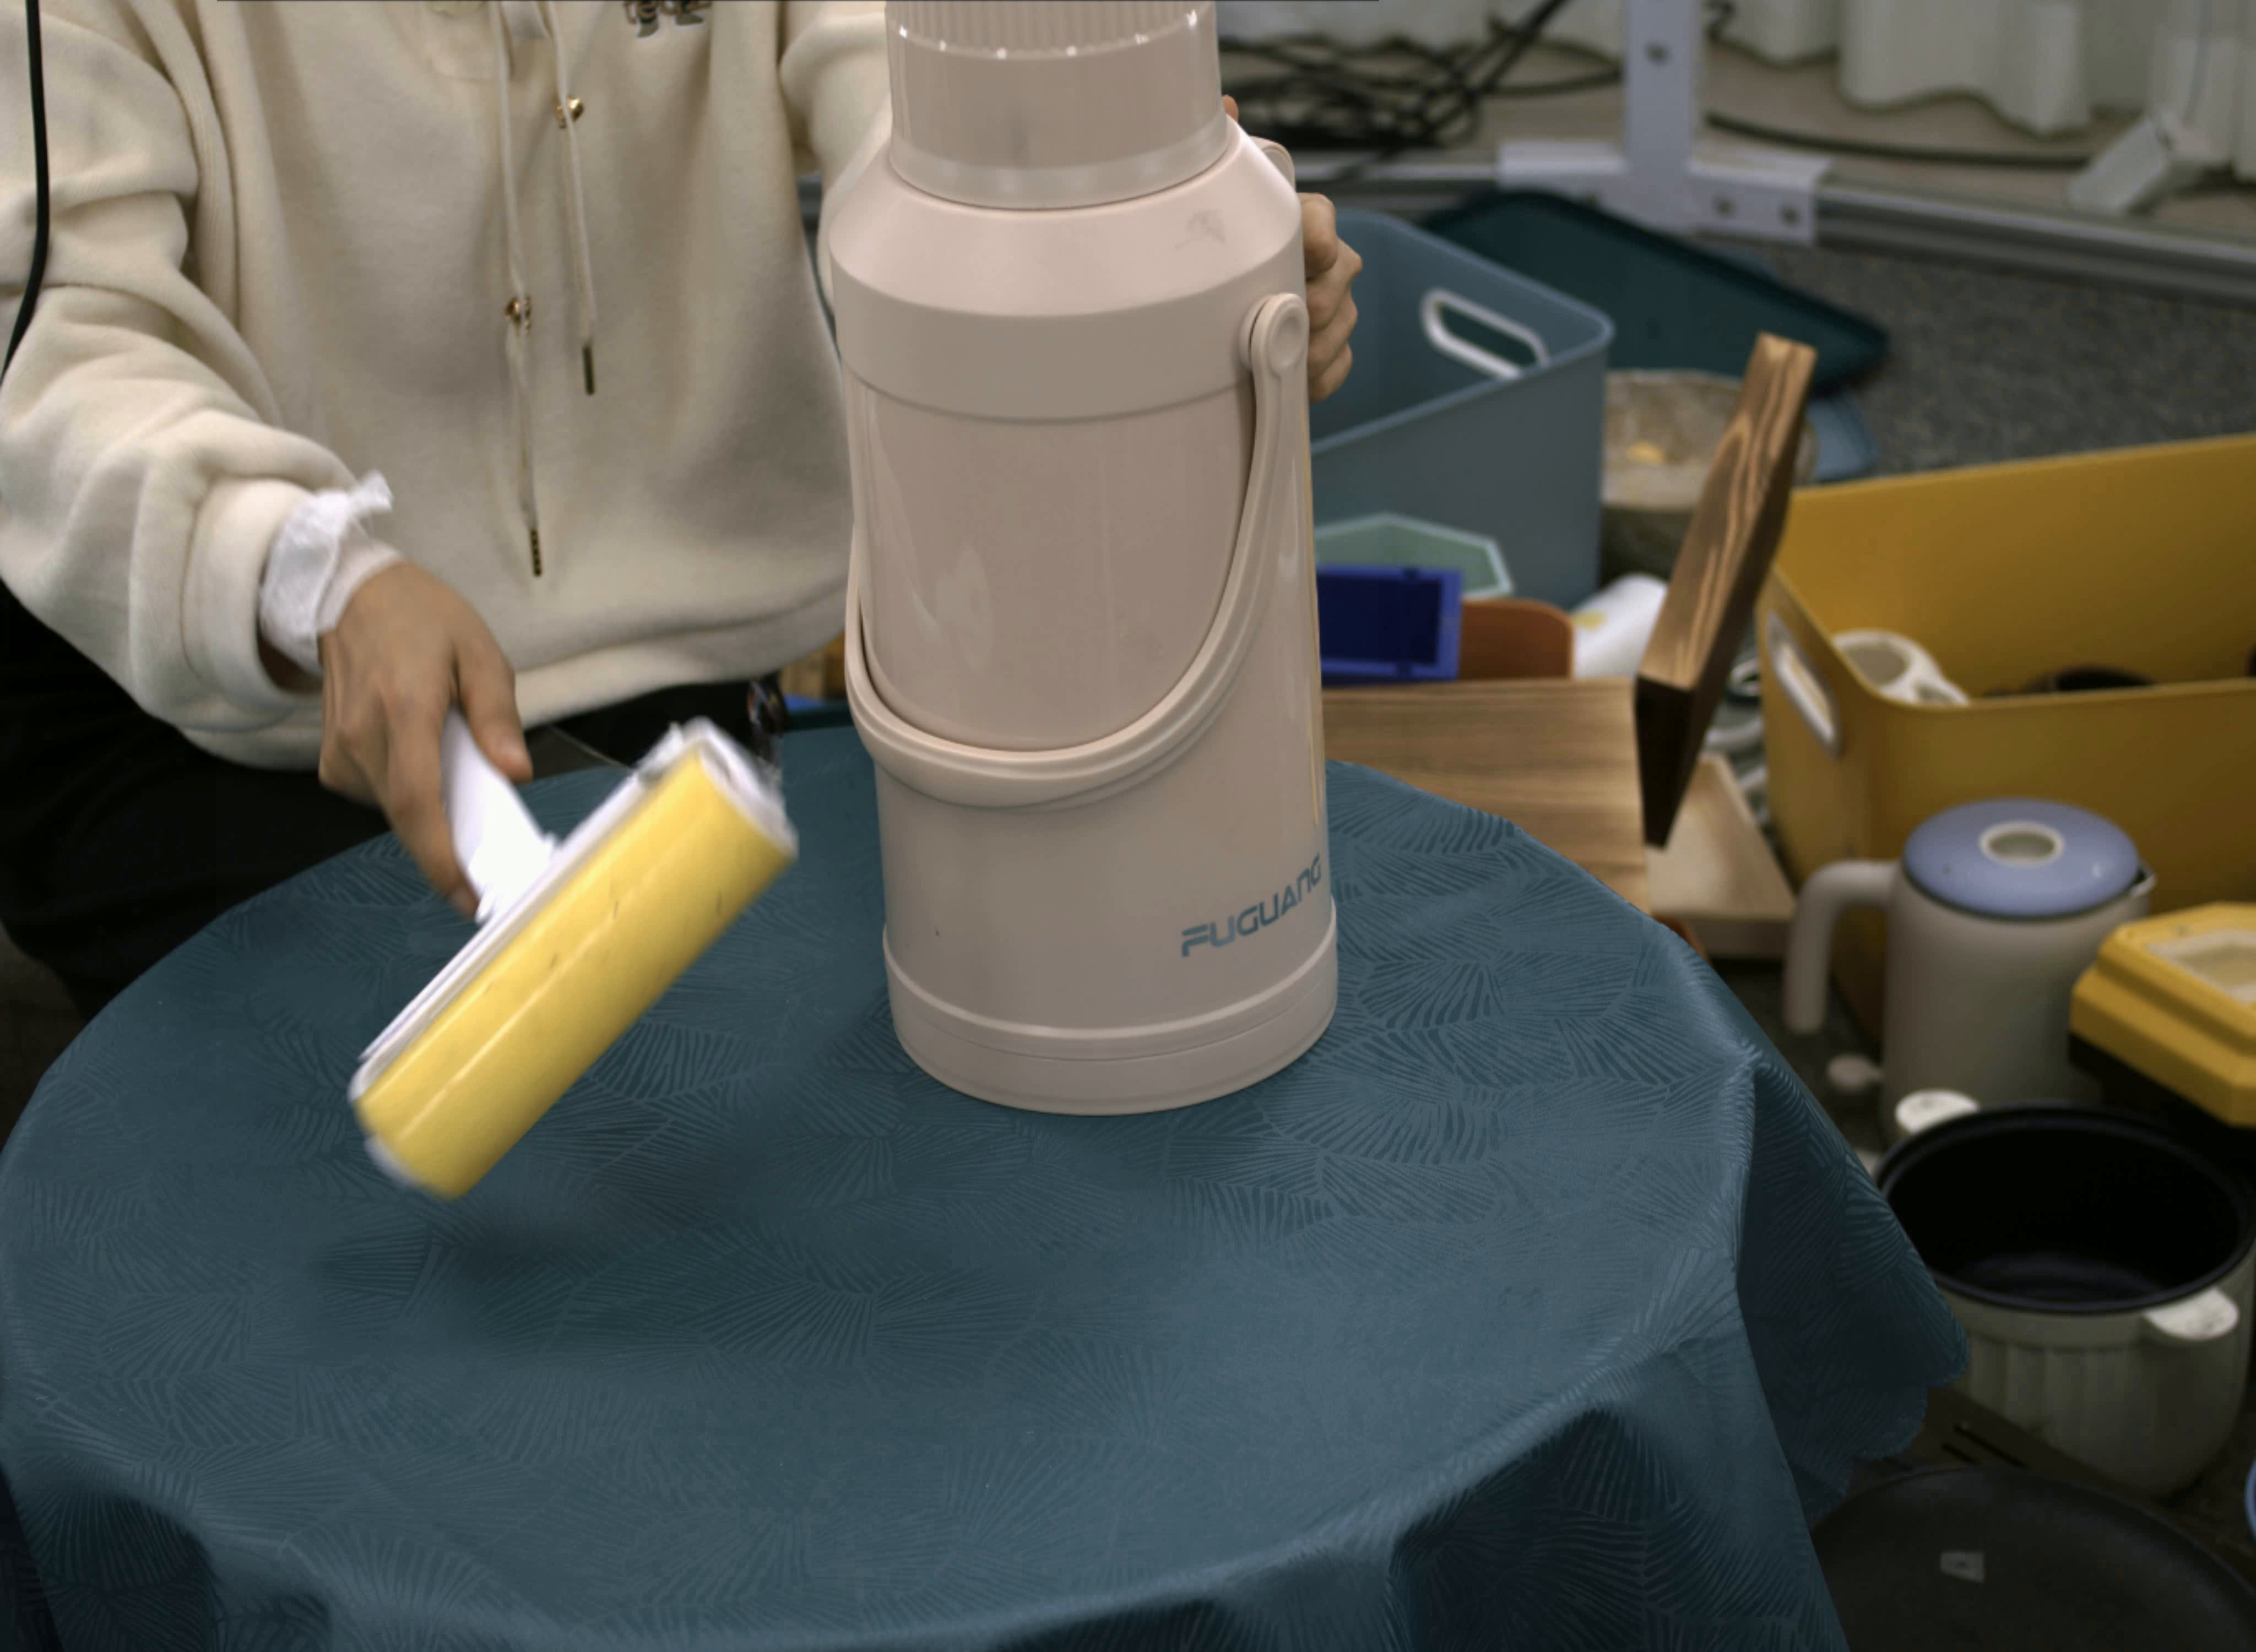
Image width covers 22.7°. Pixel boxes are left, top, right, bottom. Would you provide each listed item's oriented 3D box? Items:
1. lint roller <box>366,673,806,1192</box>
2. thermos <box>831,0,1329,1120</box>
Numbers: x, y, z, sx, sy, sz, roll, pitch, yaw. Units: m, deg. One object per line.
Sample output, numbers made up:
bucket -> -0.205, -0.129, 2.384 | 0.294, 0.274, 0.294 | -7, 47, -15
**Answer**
lint roller -> -0.213, 0.003, 1.865 | 0.193, 0.174, 0.051 | 45, 7, 37
thermos -> -0.007, -0.117, 1.899 | 0.174, 0.402, 0.210 | 14, 31, 33
